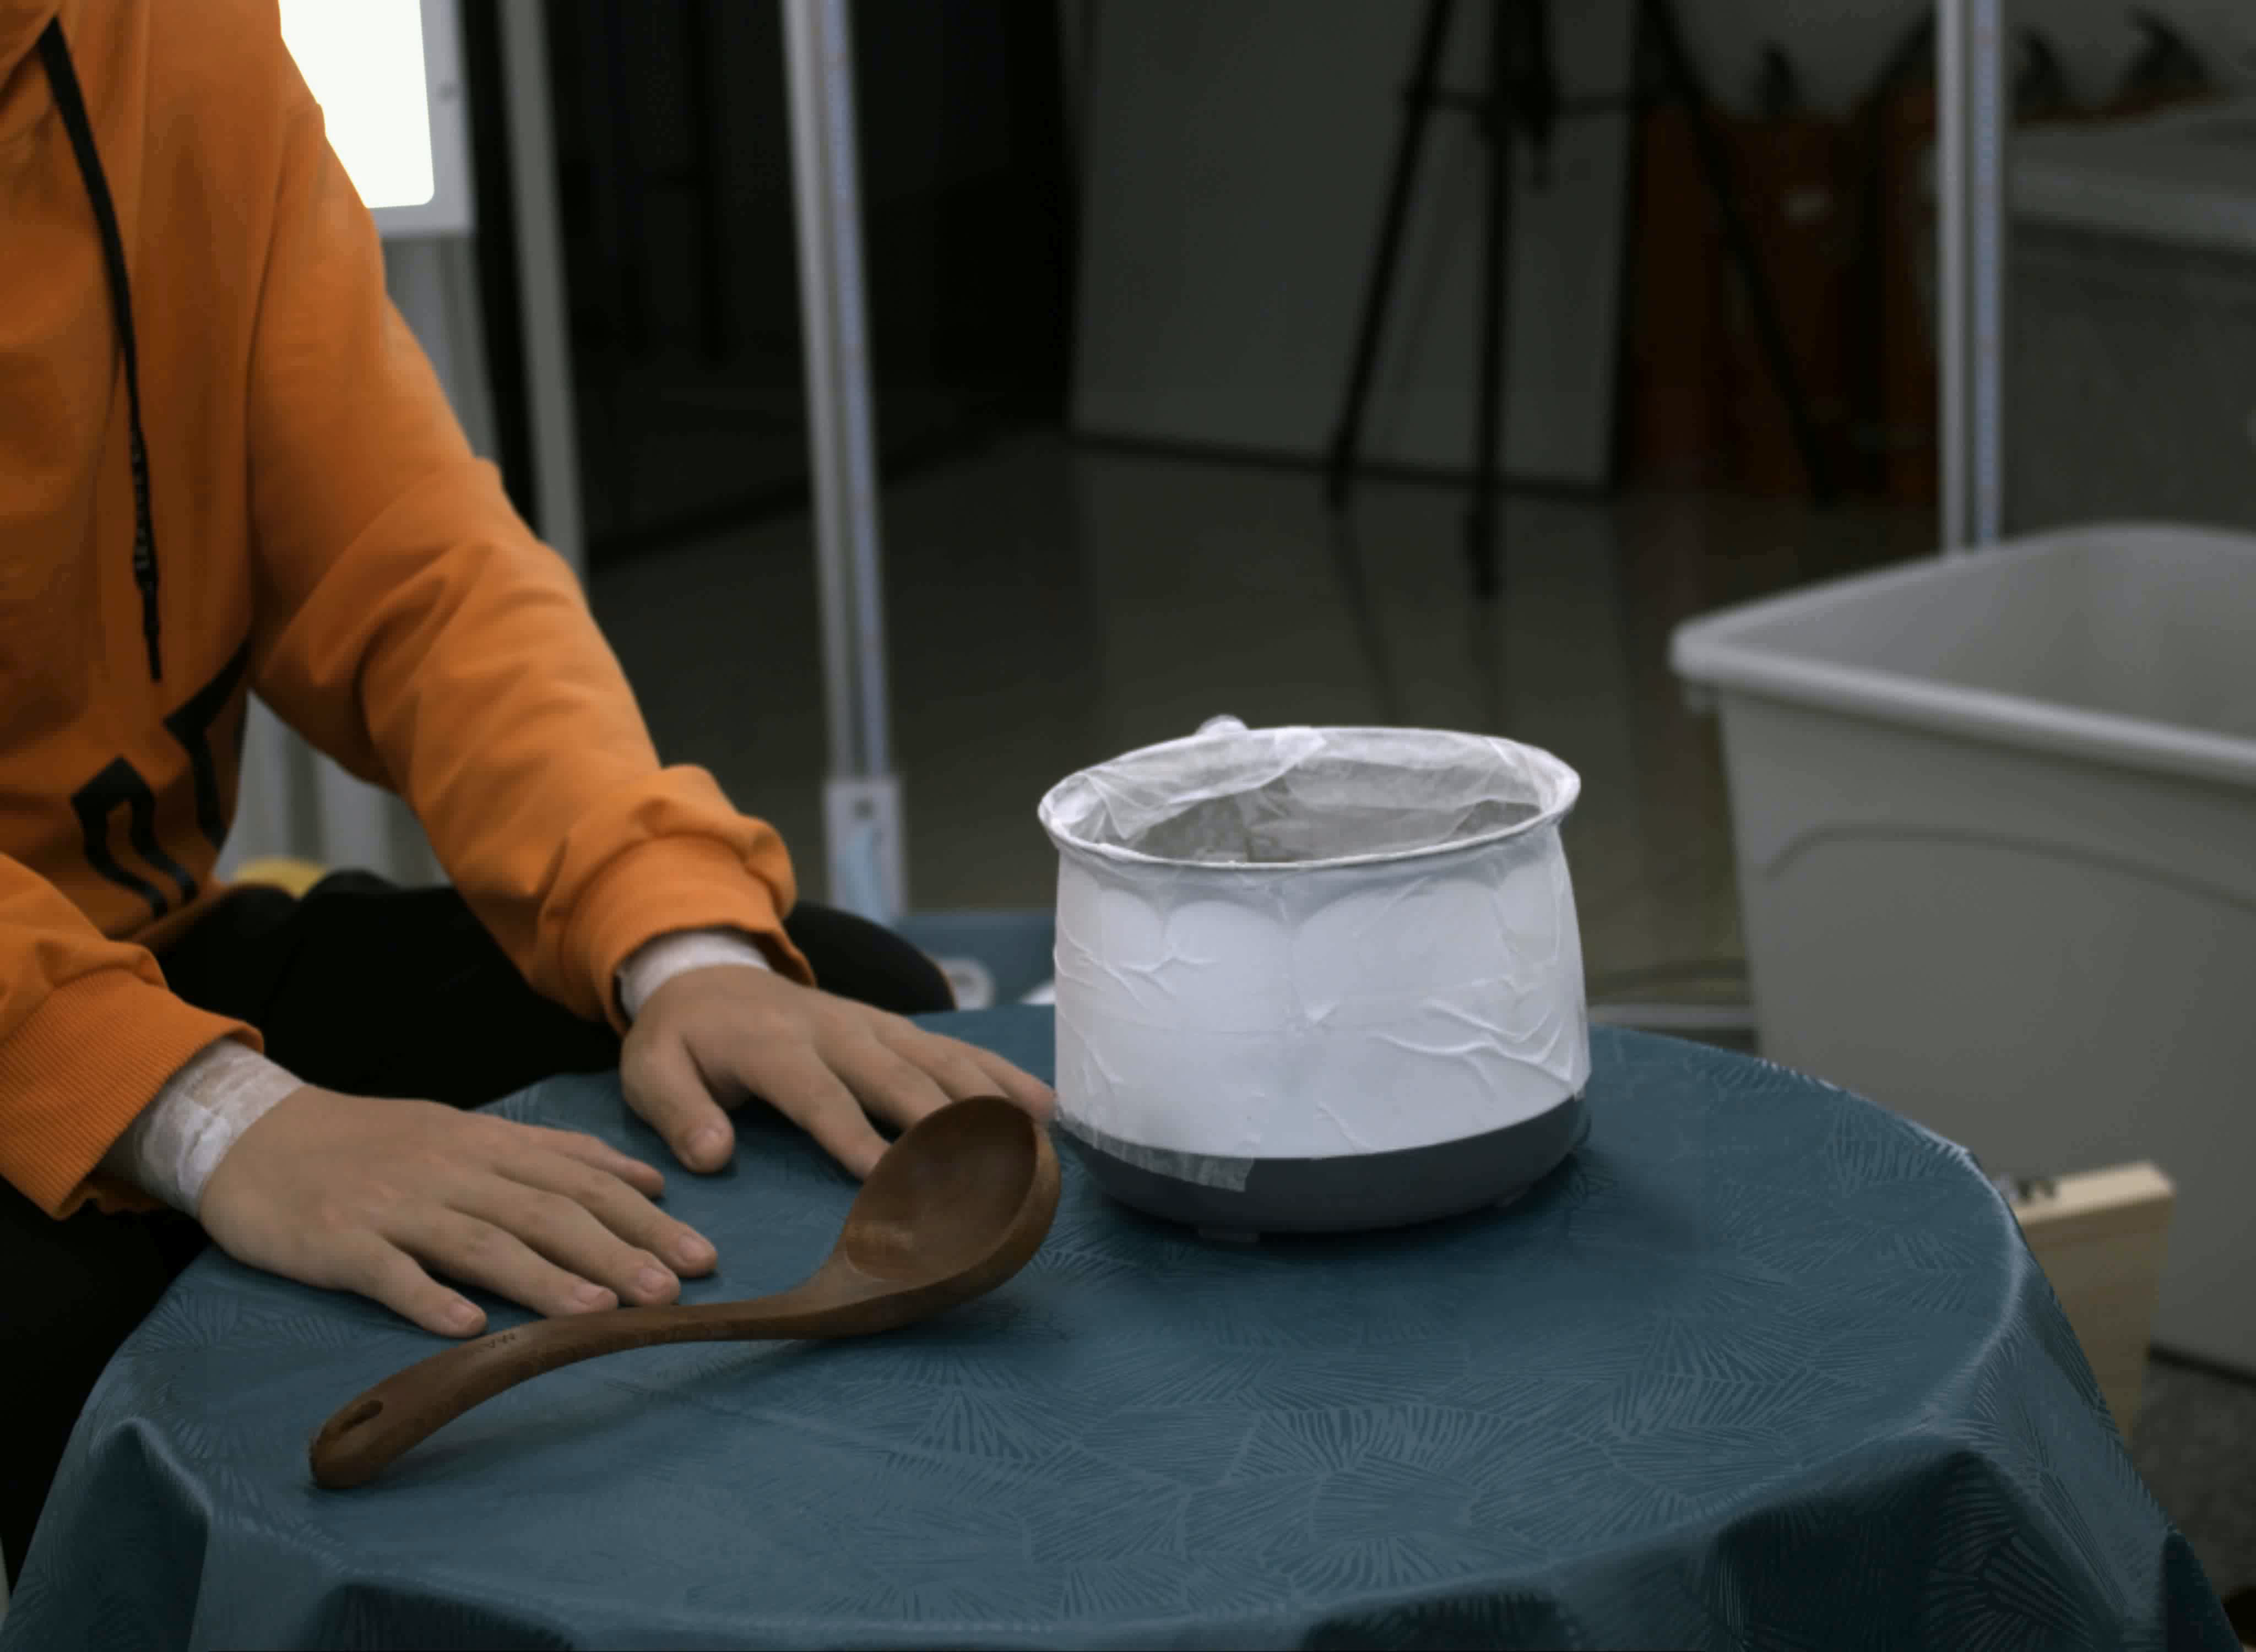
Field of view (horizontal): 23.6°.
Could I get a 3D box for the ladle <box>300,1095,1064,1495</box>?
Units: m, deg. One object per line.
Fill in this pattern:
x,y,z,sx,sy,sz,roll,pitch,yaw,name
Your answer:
-0.131,0.137,1.612,0.254,0.066,0.077,-13,14,-32,ladle

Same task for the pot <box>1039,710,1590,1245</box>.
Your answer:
0.054,0.044,1.779,0.175,0.138,0.235,-7,14,-15,pot
